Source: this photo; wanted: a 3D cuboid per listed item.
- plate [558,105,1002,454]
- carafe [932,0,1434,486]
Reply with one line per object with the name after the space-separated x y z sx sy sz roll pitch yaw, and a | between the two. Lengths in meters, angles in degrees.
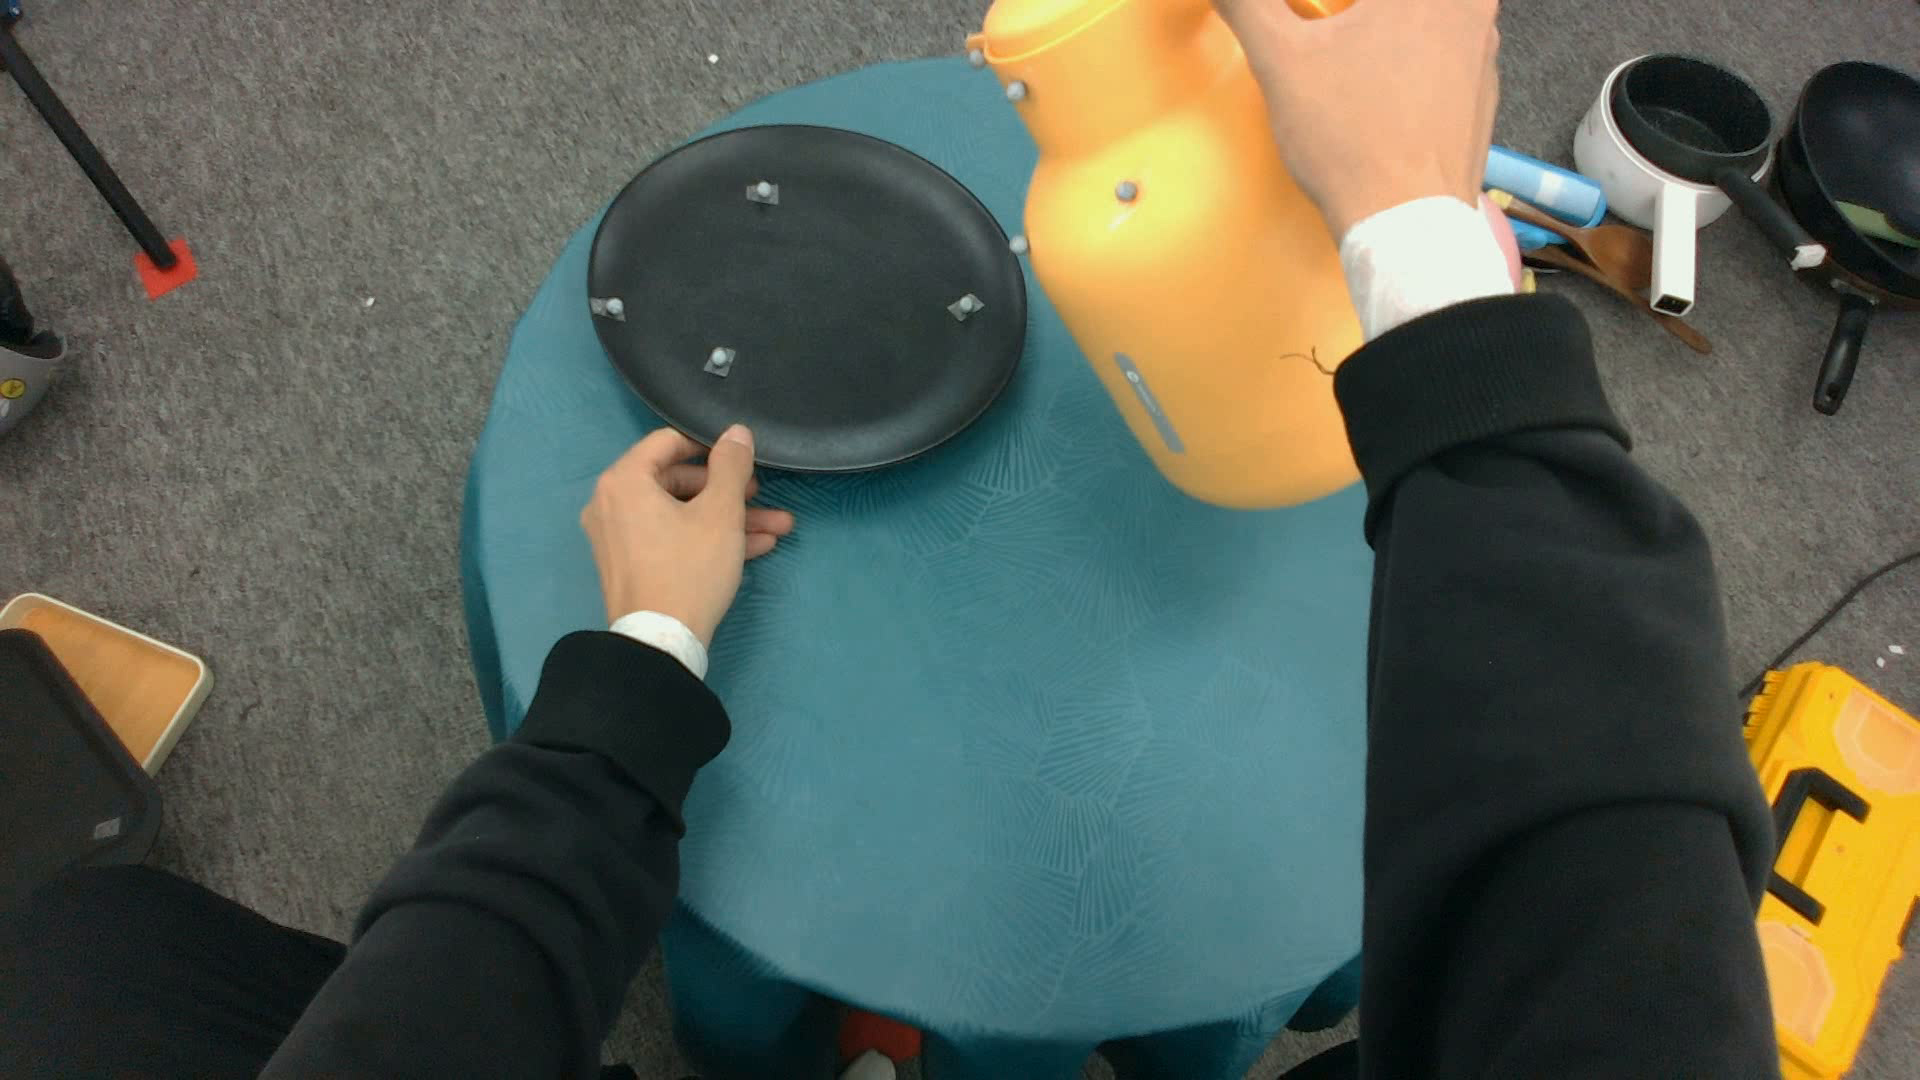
-0.098 -0.147 0.769 0.244 0.023 0.245 5 60 -9 | plate
0.108 -0.154 0.612 0.164 0.202 0.260 -52 122 -19 | carafe
